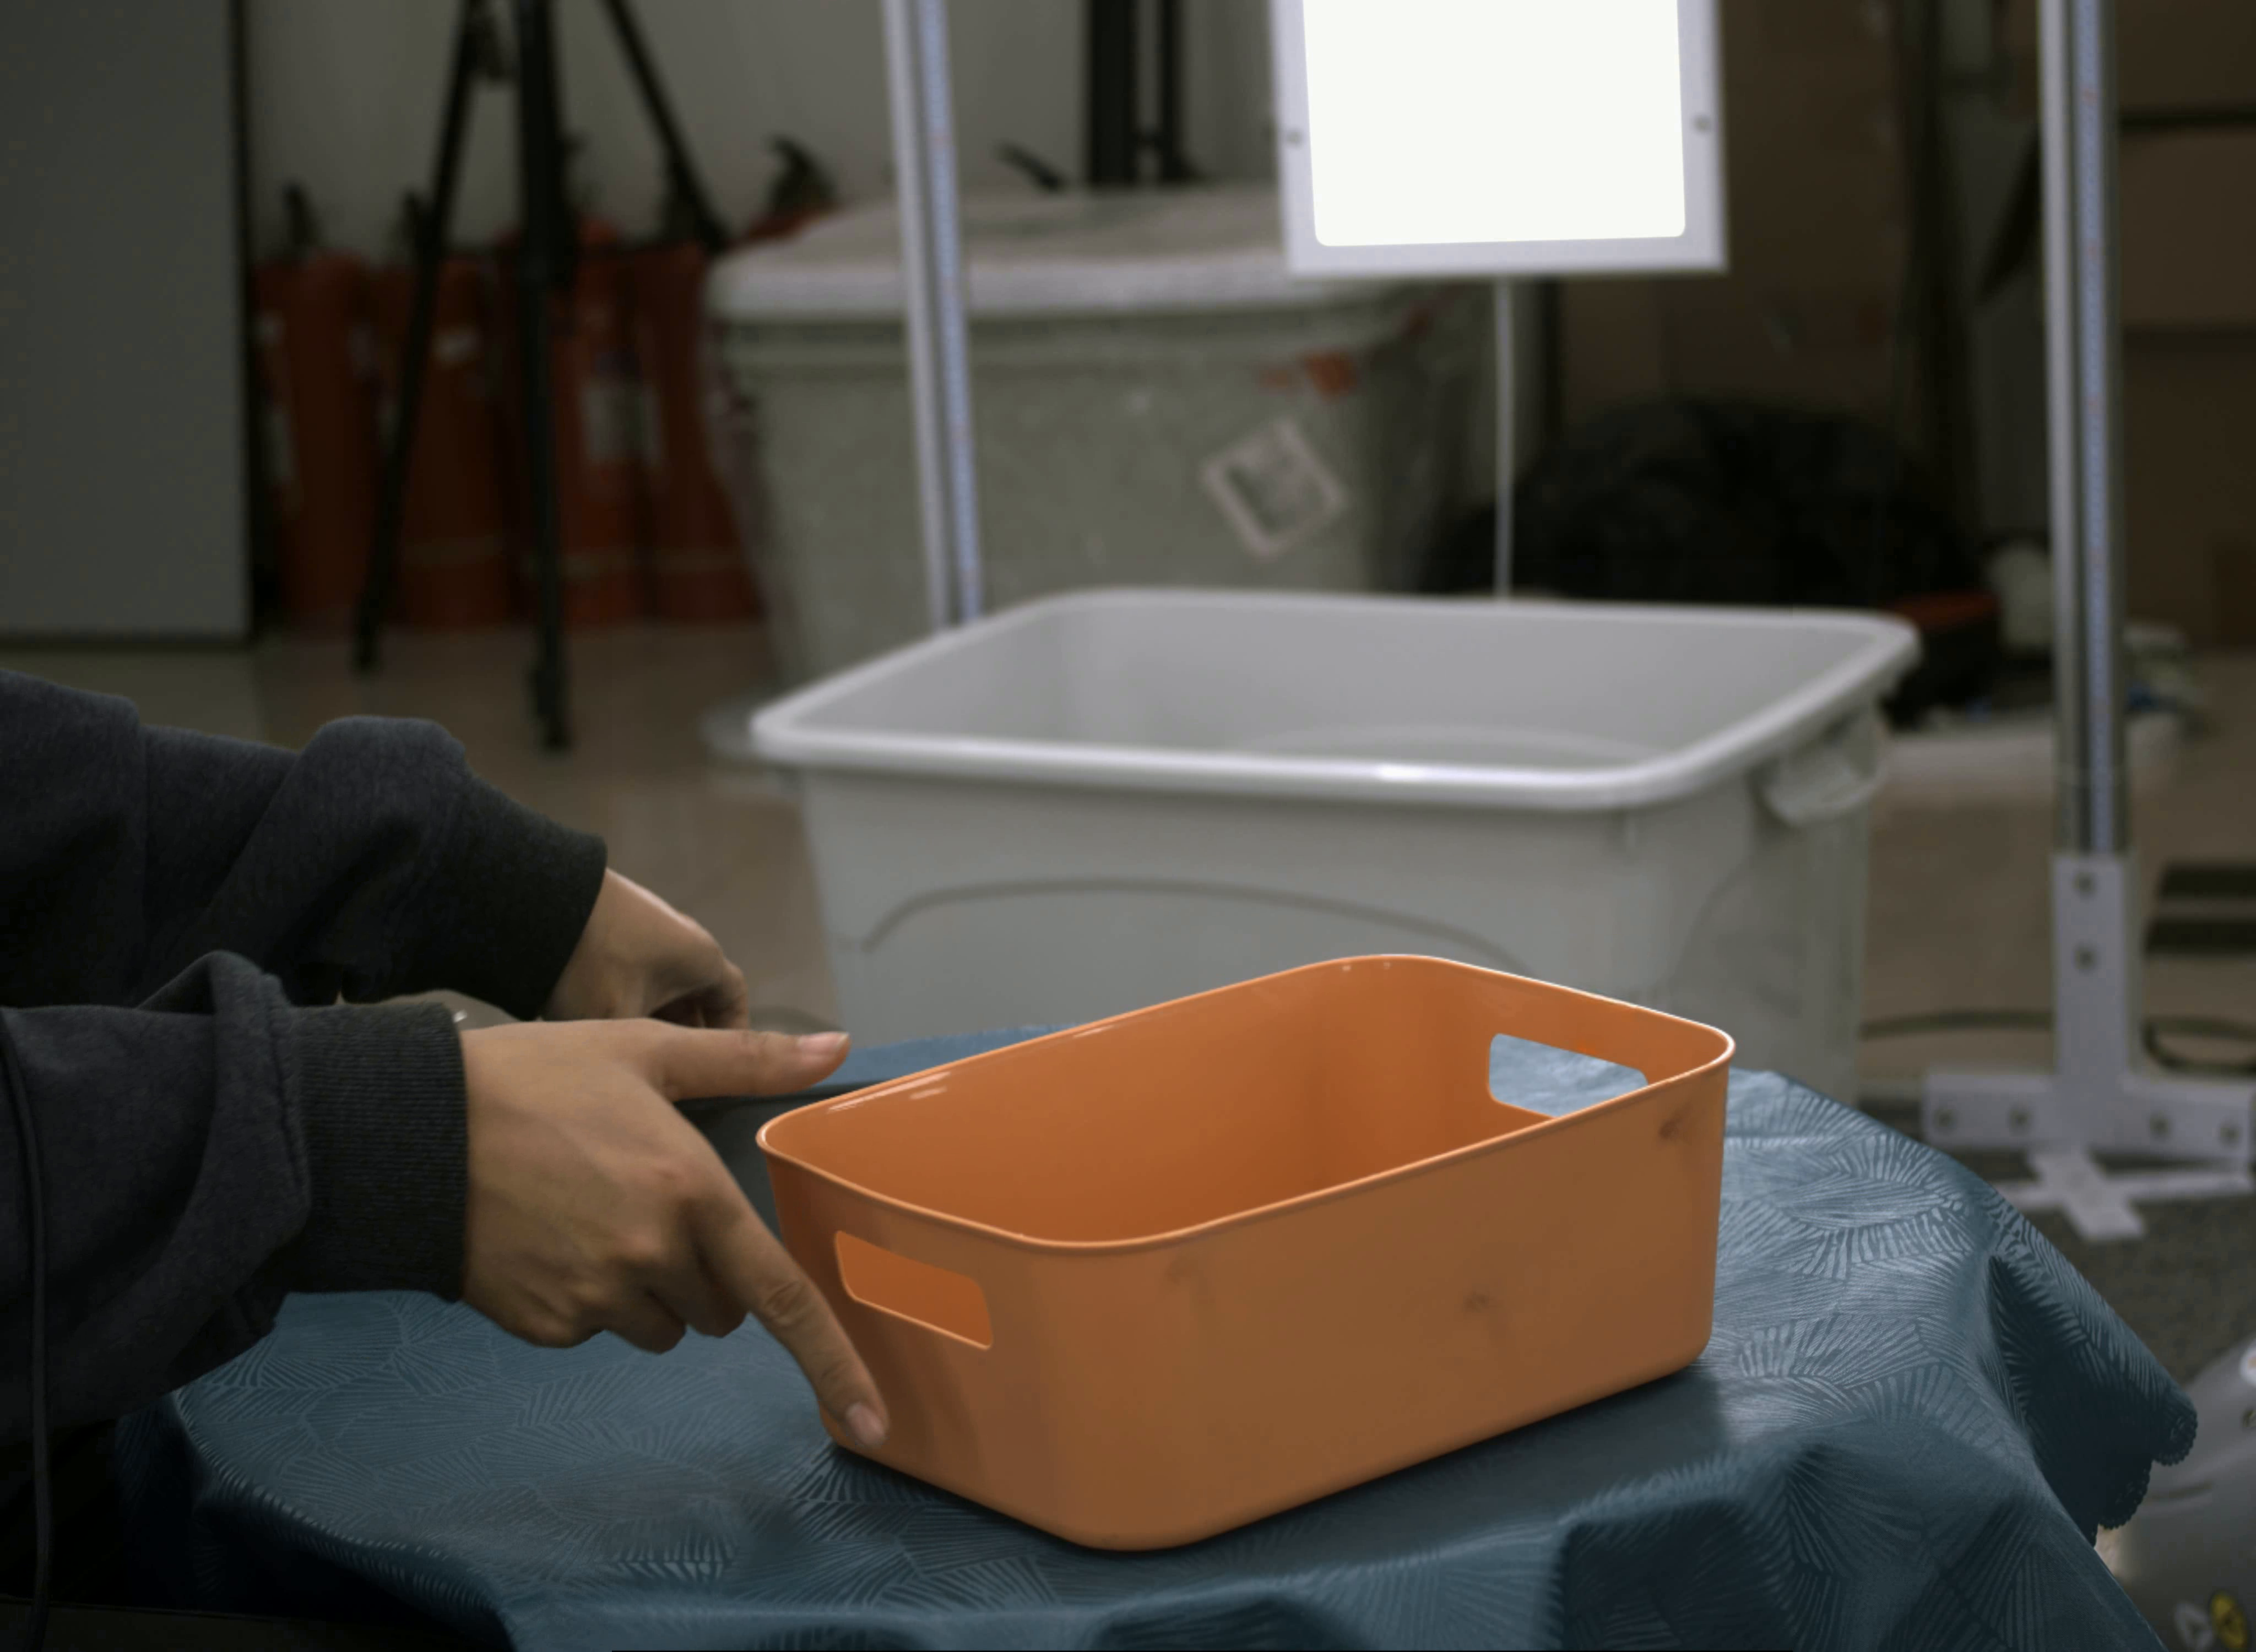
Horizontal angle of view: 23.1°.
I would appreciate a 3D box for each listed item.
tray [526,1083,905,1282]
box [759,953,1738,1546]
[{"bbox_3d":[-0.051,0.116,1.944,0.324,0.010,0.211,-6,13,-2],"label":"tray"},{"bbox_3d":[0.040,0.125,1.670,0.266,0.103,0.203,-14,17,-34],"label":"box"}]
